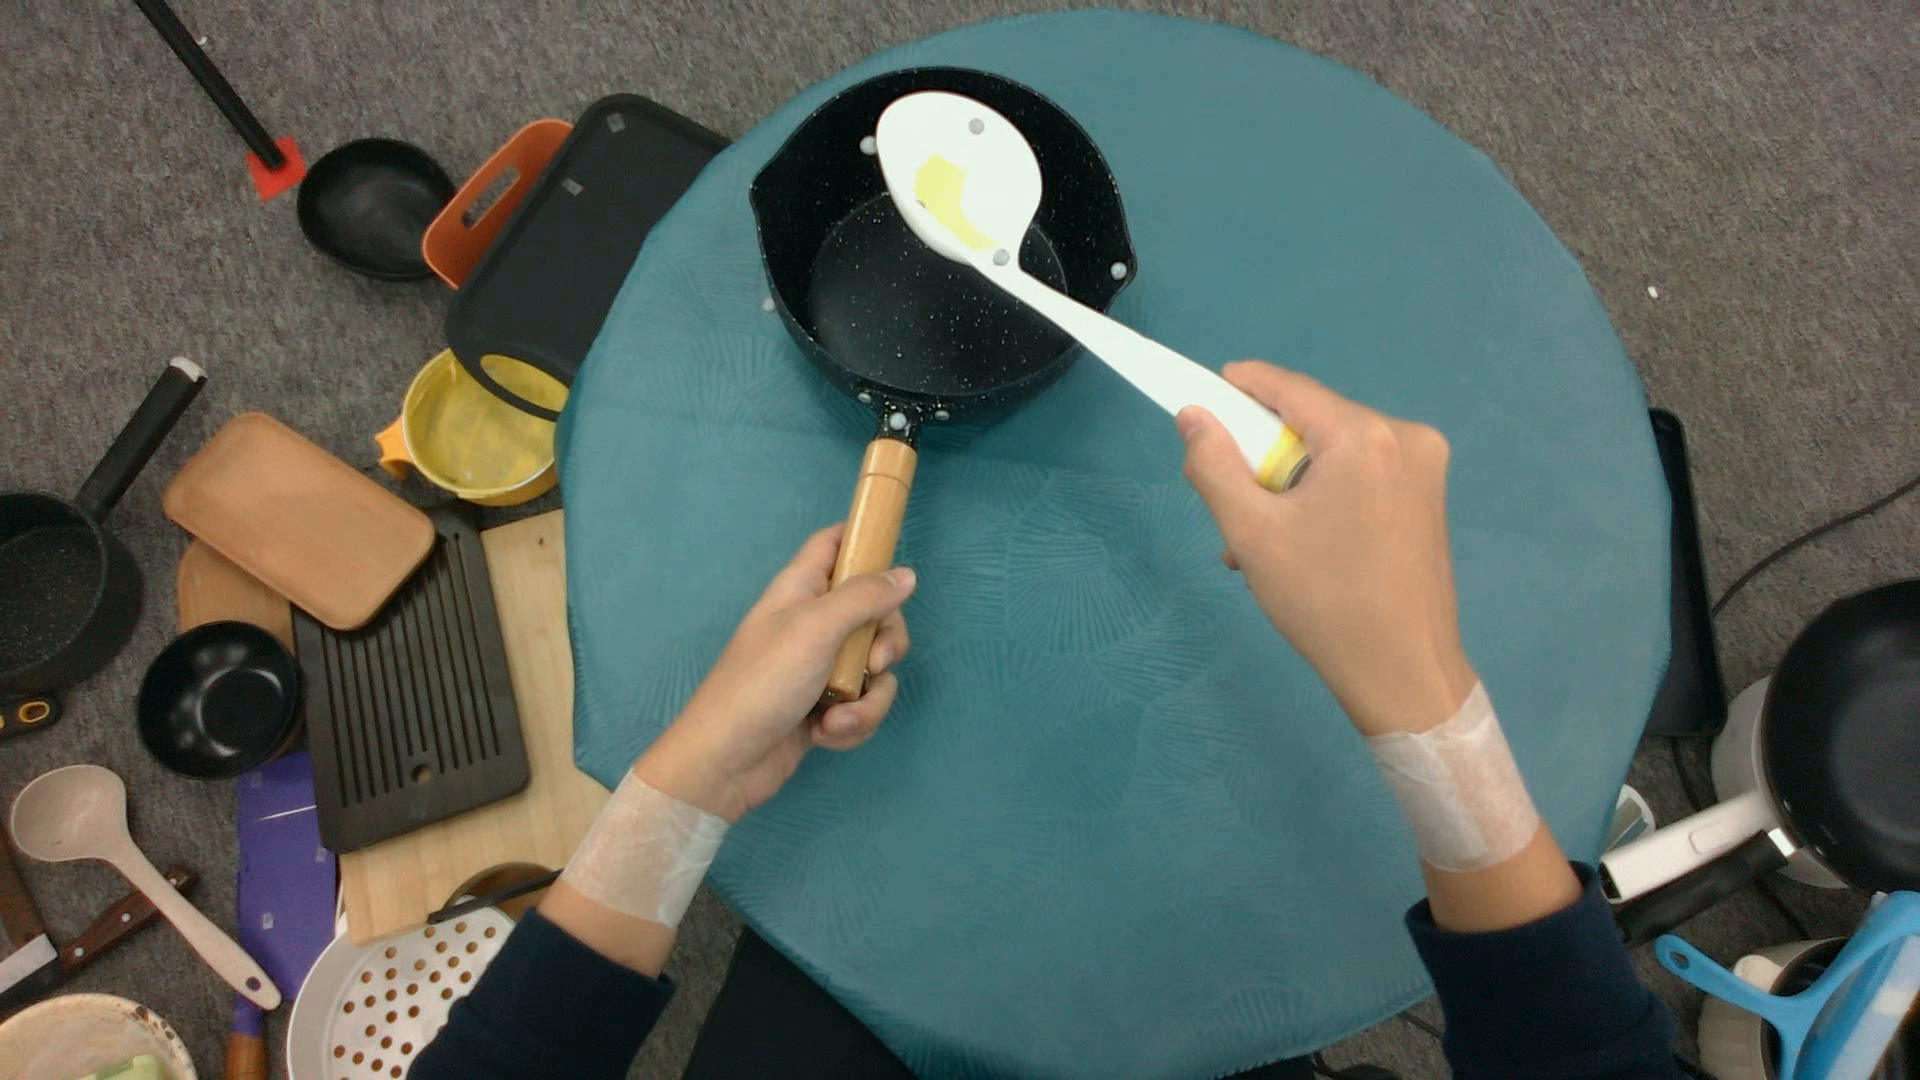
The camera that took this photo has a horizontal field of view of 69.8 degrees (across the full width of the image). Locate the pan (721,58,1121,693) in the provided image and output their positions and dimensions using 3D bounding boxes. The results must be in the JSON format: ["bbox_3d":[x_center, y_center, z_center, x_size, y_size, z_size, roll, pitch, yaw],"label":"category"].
[{"bbox_3d":[-0.033,-0.080,0.697,0.207,0.108,0.344,11,71,-1],"label":"pan"}]

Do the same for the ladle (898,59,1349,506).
[{"bbox_3d":[0.064,-0.123,0.593,0.090,0.069,0.293,-1,35,-37],"label":"ladle"}]
